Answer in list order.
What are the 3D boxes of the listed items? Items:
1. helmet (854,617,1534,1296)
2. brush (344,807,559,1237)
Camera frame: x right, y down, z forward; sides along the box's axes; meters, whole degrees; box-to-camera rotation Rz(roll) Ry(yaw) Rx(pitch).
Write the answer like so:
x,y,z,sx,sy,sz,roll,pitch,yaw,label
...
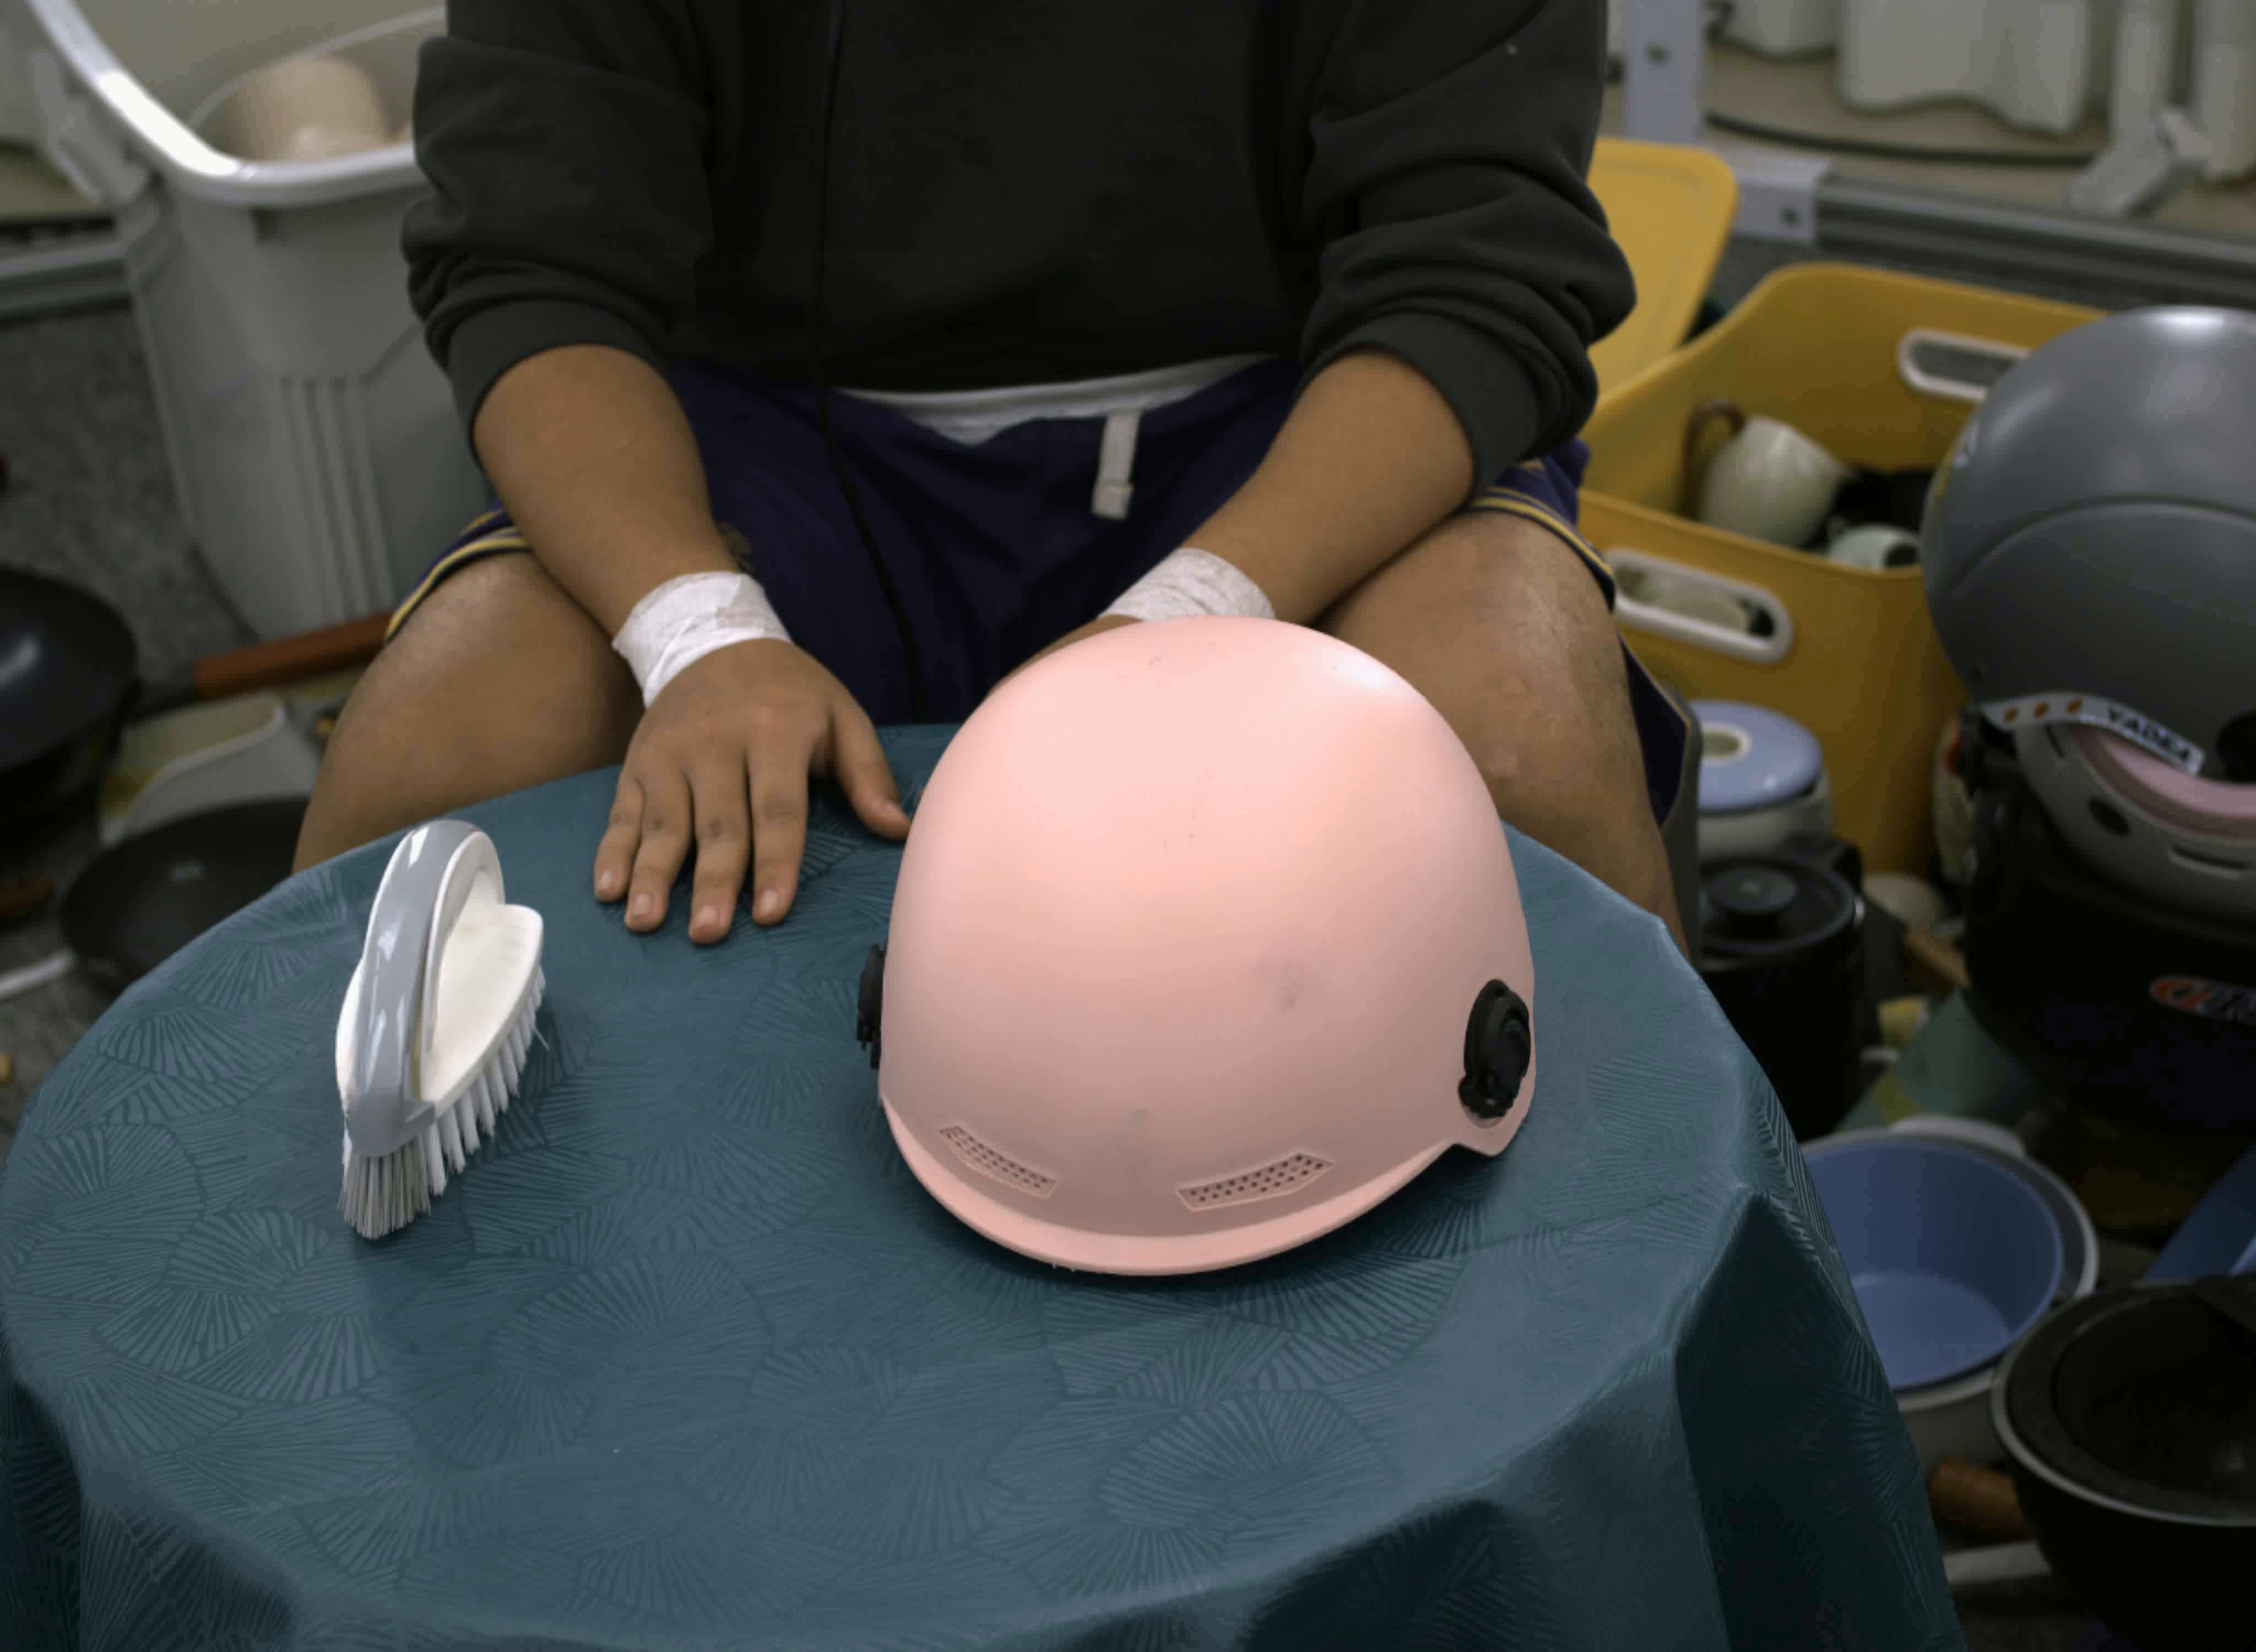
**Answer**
x,y,z,sx,sy,sz,roll,pitch,yaw,label
0.022,0.024,1.887,0.232,0.157,0.271,4,32,12,helmet
-0.238,0.059,1.909,0.061,0.093,0.178,-1,29,7,brush
